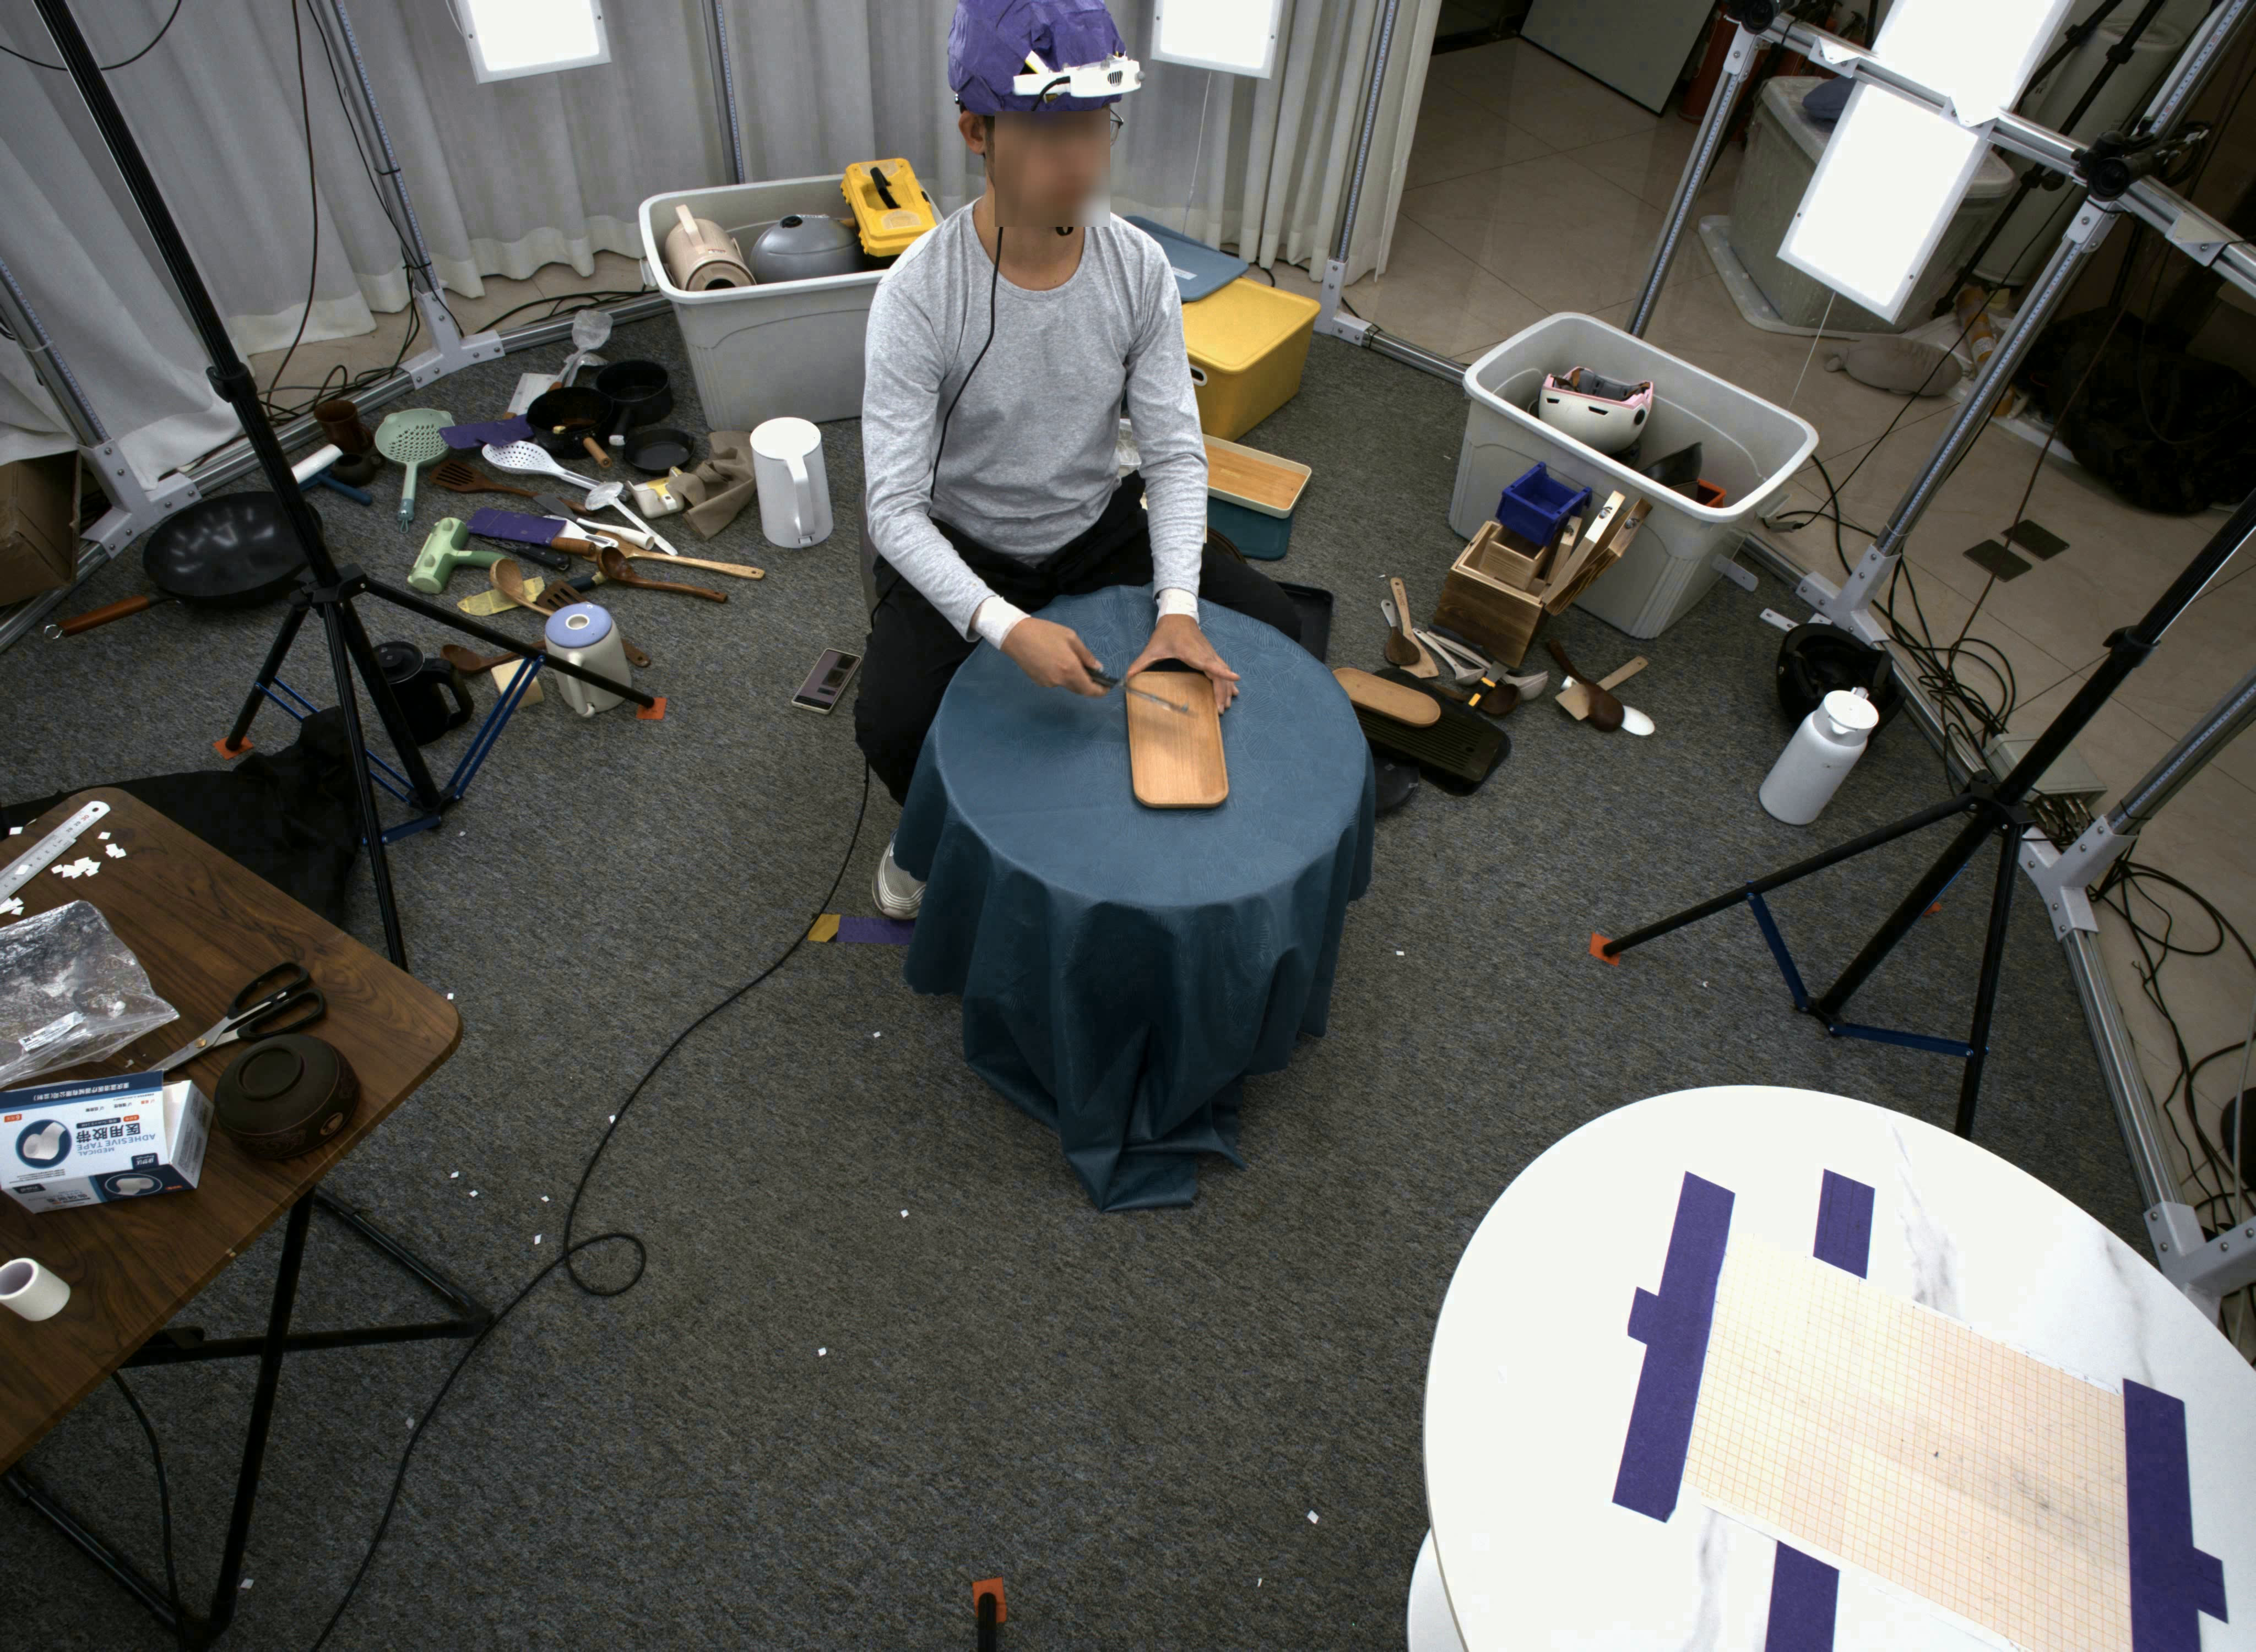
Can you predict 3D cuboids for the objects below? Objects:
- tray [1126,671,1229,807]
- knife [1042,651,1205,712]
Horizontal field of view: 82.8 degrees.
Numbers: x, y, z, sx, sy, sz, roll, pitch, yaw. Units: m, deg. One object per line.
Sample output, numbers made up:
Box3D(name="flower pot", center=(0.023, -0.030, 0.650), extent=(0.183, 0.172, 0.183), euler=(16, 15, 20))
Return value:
Box3D(name="tray", center=(0.065, -0.122, 1.767), extent=(0.130, 0.022, 0.257), euler=(2, 48, -6))
Box3D(name="knife", center=(-0.007, -0.196, 1.760), extent=(0.238, 0.016, 0.025), euler=(19, 24, 4))
